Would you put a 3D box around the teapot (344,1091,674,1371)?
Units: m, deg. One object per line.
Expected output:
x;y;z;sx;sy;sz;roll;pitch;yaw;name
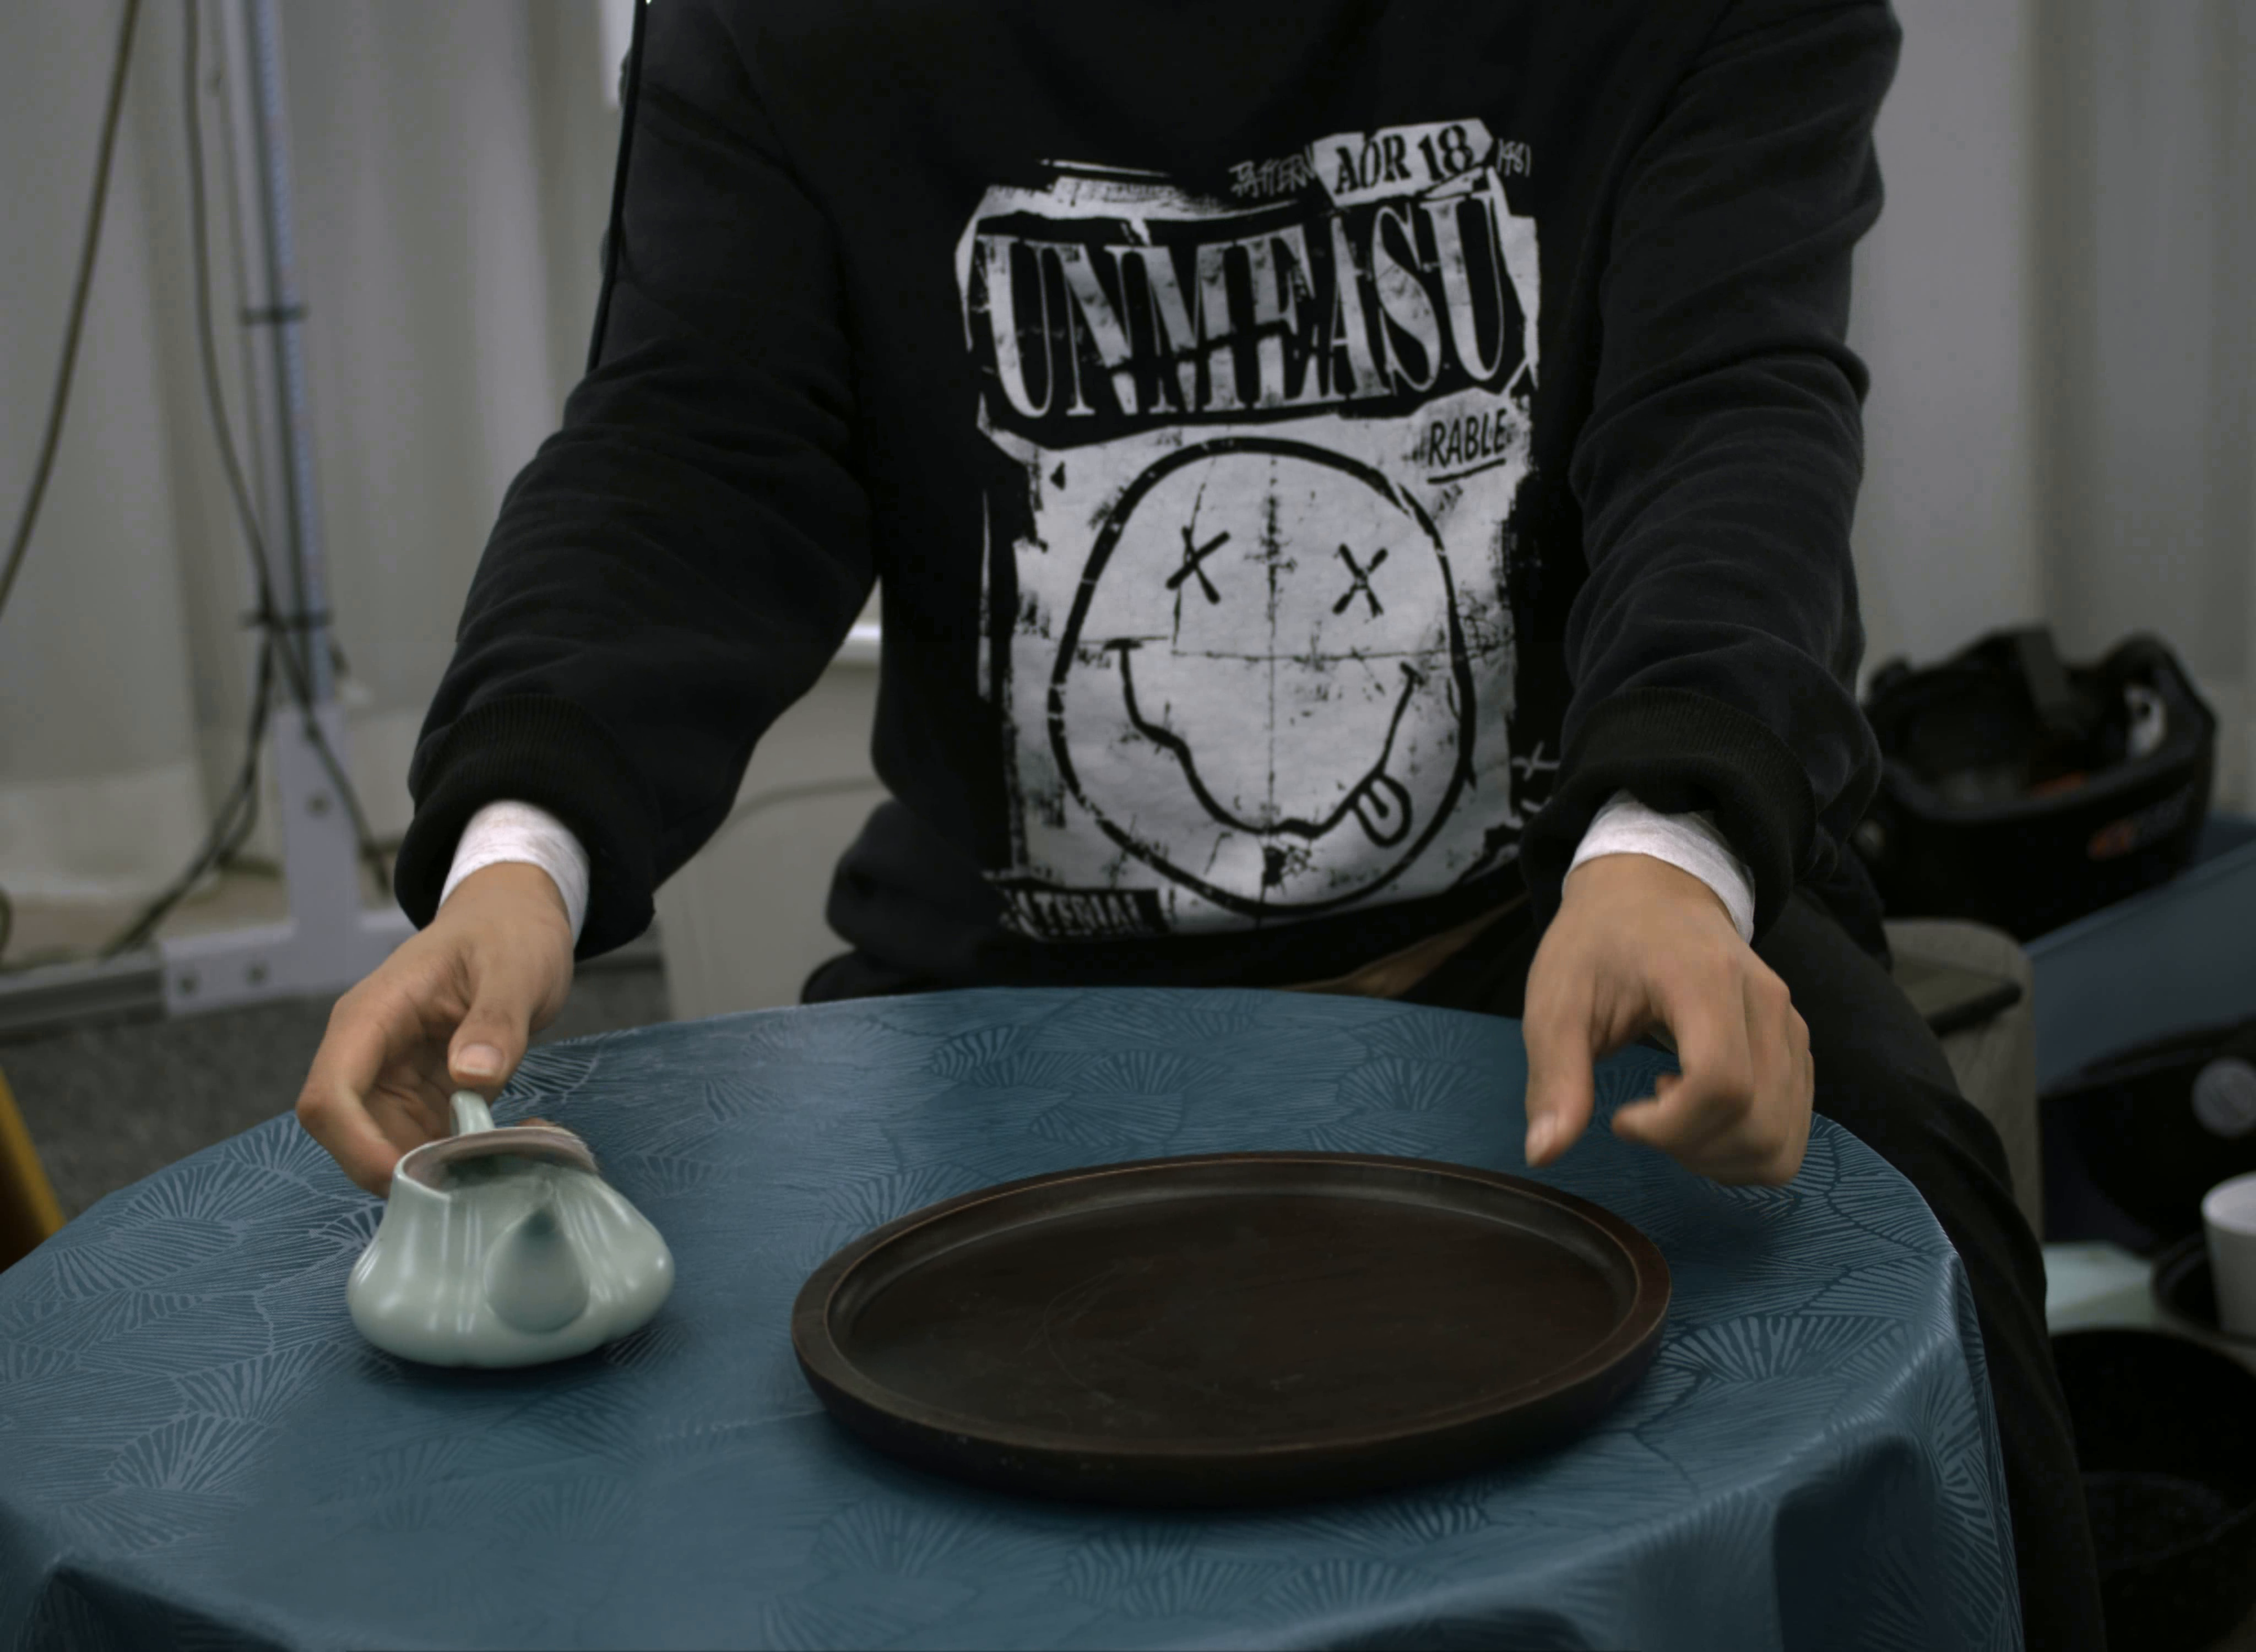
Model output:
-0.184;0.122;1.608;0.096;0.061;0.138;-9;16;-18;teapot

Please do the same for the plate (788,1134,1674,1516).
0.029;0.142;1.559;0.254;0.029;0.256;-4;15;1;plate
